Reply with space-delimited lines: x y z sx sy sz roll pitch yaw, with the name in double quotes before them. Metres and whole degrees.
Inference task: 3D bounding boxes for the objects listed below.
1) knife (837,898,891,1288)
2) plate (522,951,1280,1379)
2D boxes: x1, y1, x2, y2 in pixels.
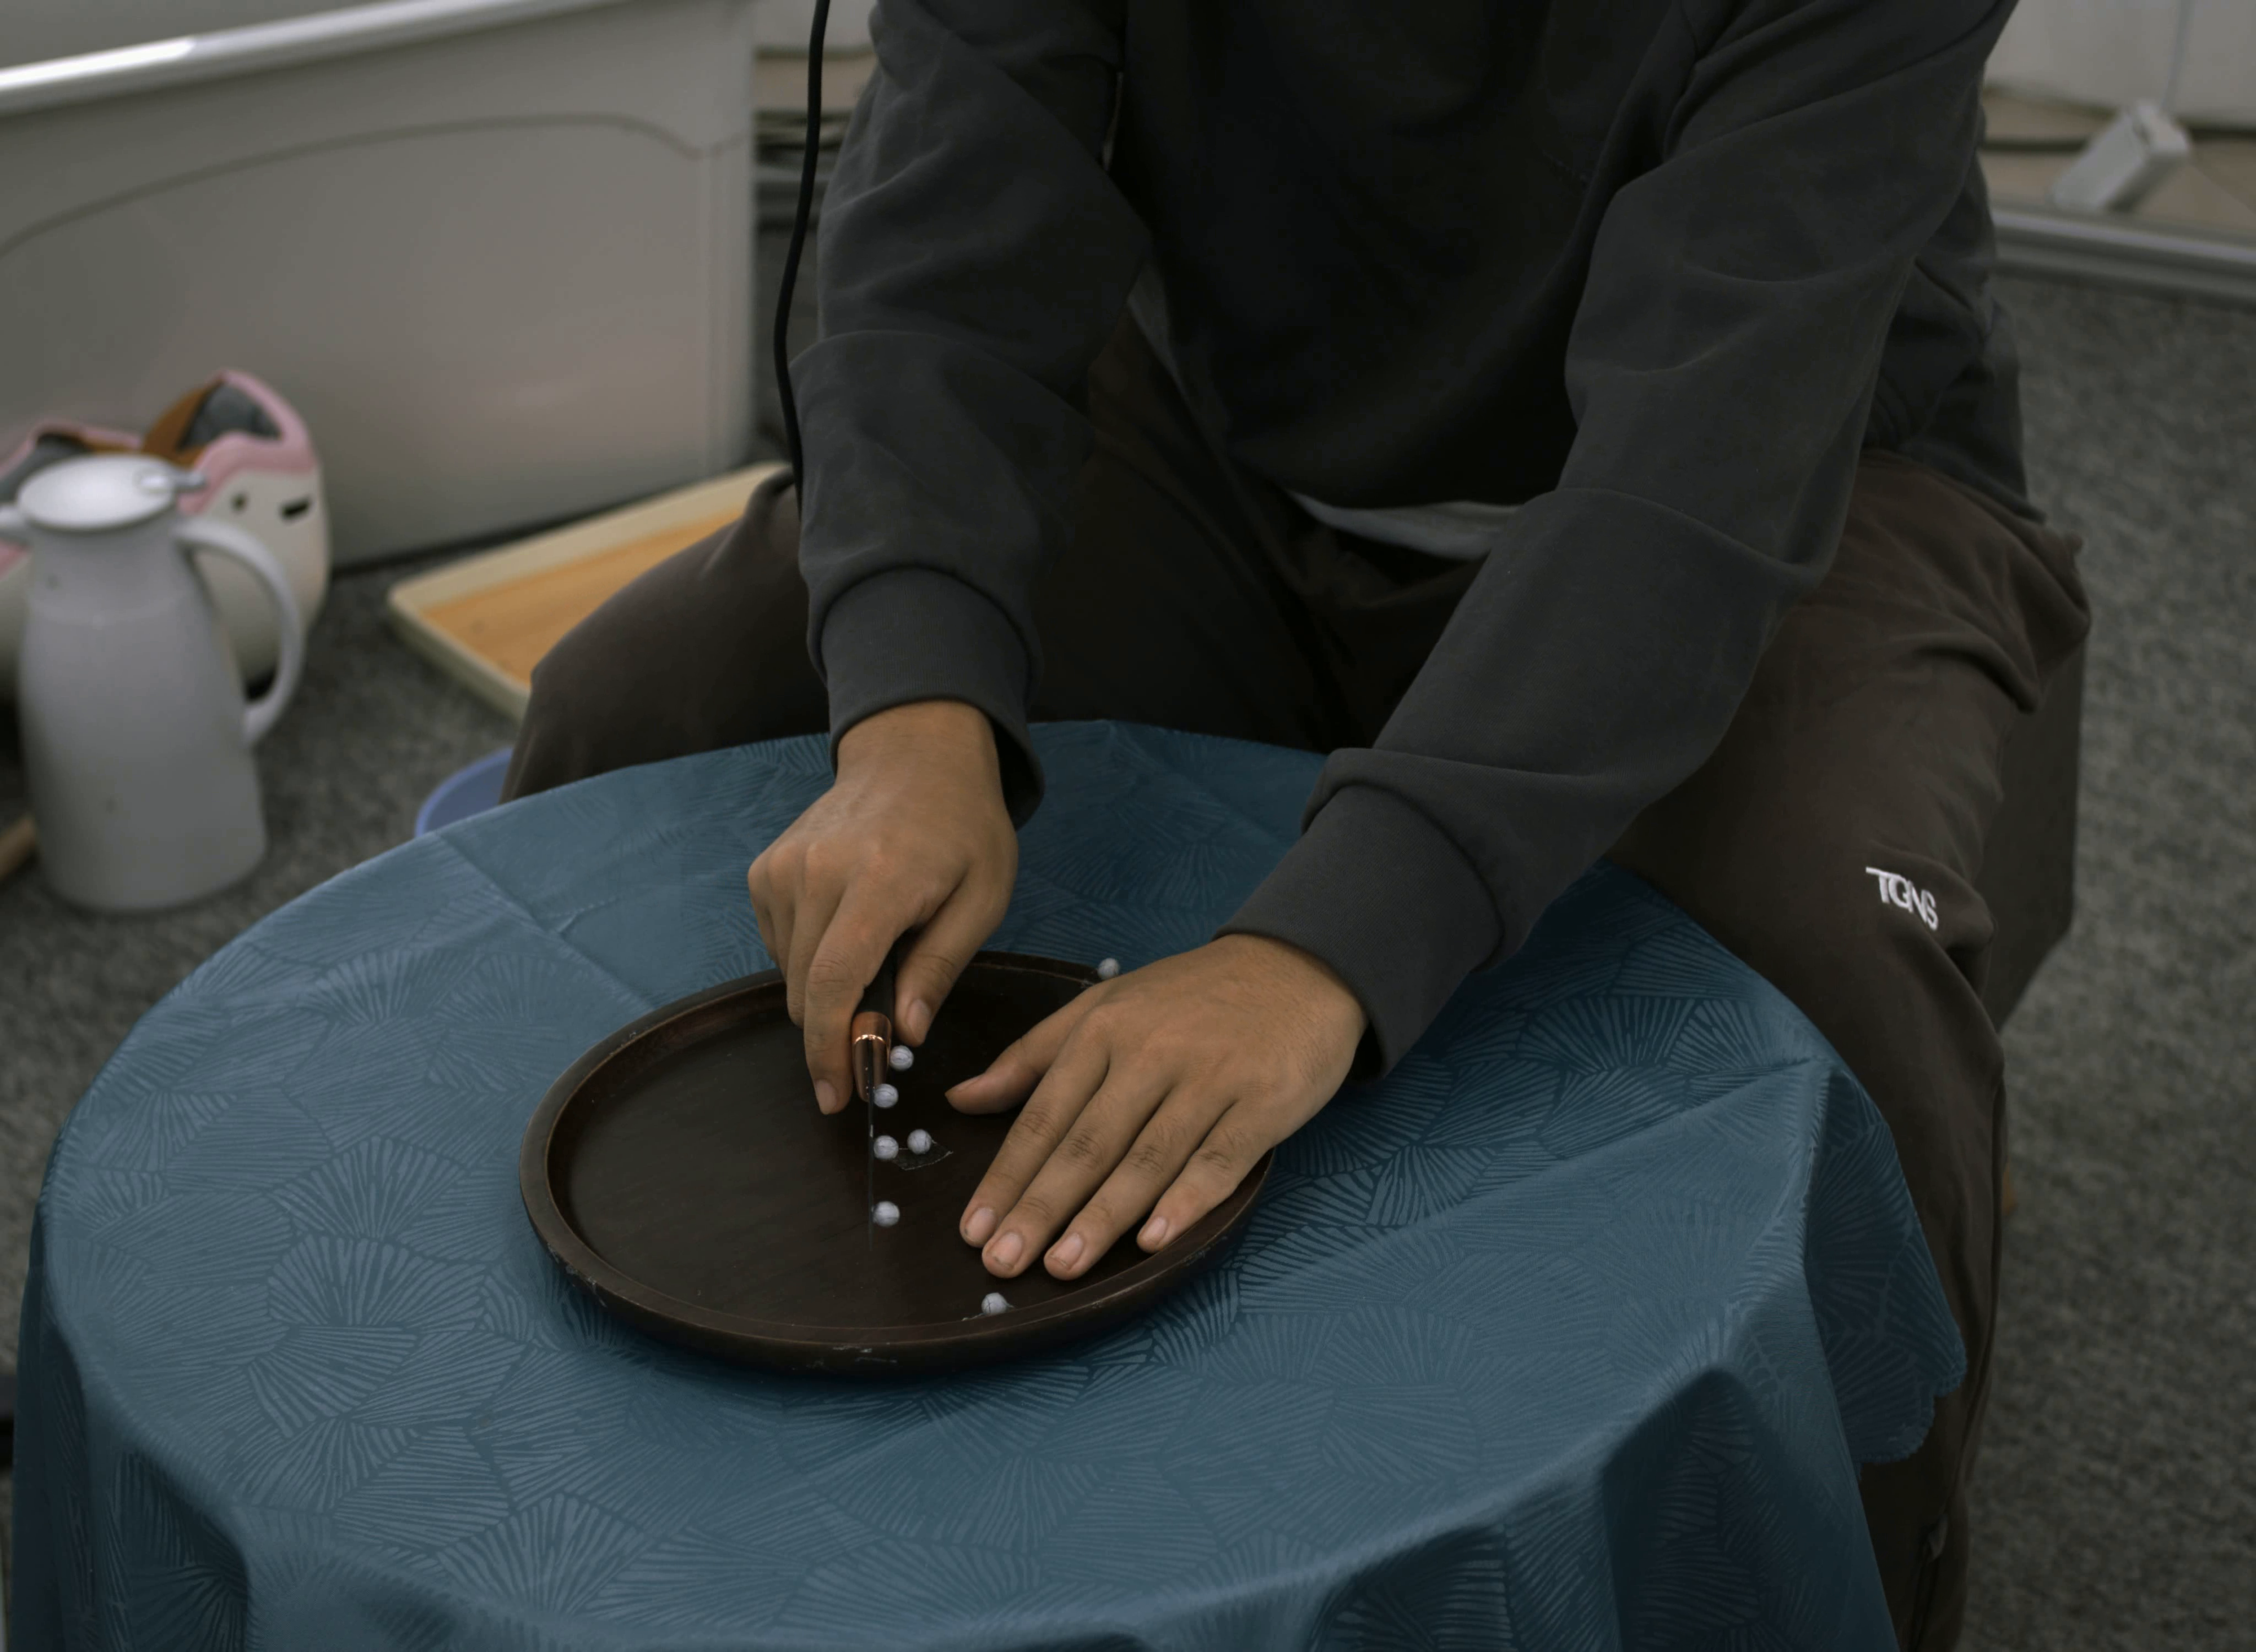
"knife" -0.086 0.085 1.857 0.017 0.026 0.229 -5 28 -2
"plate" -0.075 0.111 1.867 0.253 0.029 0.258 -2 26 2
